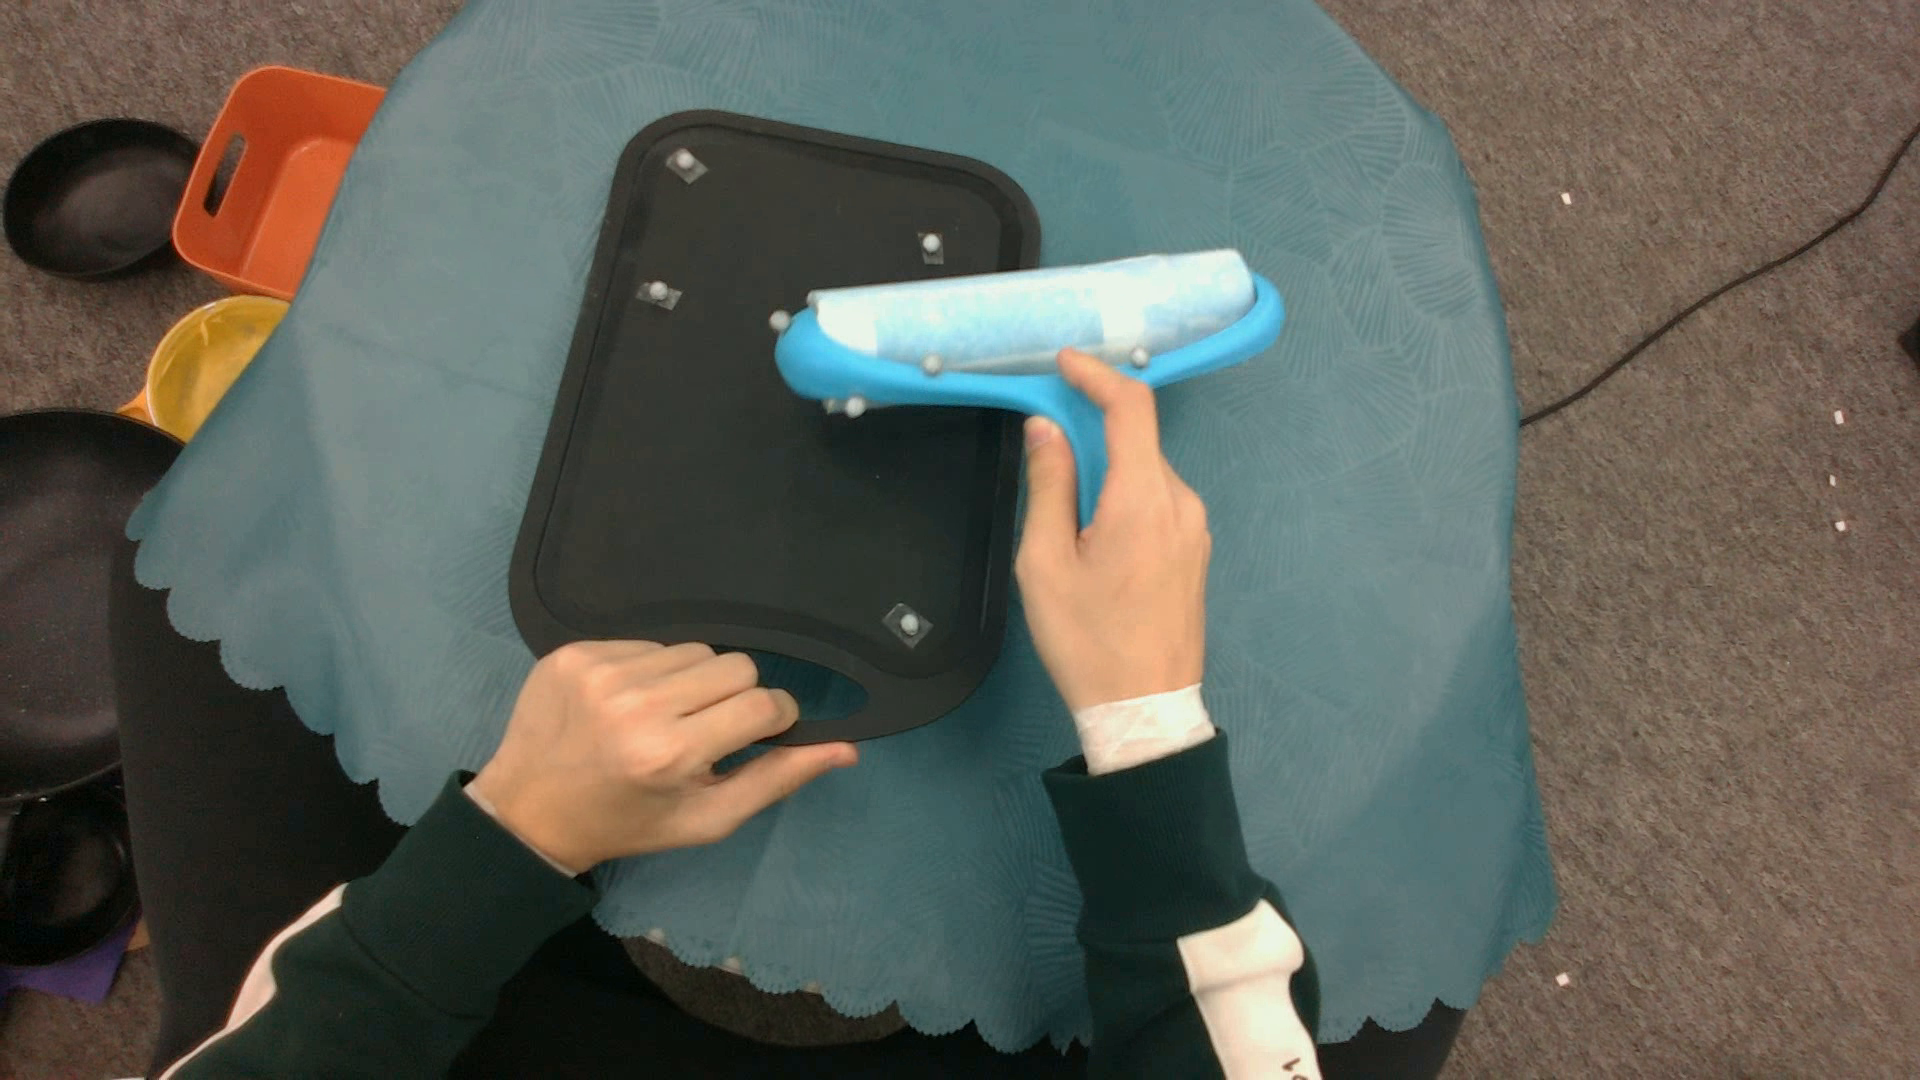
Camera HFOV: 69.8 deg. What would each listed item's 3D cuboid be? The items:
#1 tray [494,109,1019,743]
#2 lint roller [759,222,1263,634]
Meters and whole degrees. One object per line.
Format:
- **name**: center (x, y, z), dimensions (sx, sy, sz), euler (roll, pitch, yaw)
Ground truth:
- **tray**: center (-0.082, -0.065, 0.626), dimensions (0.211, 0.010, 0.326), euler (7, 63, -5)
- **lint roller**: center (0.042, -0.053, 0.587), dimensions (0.229, 0.067, 0.181), euler (-11, 64, -16)
